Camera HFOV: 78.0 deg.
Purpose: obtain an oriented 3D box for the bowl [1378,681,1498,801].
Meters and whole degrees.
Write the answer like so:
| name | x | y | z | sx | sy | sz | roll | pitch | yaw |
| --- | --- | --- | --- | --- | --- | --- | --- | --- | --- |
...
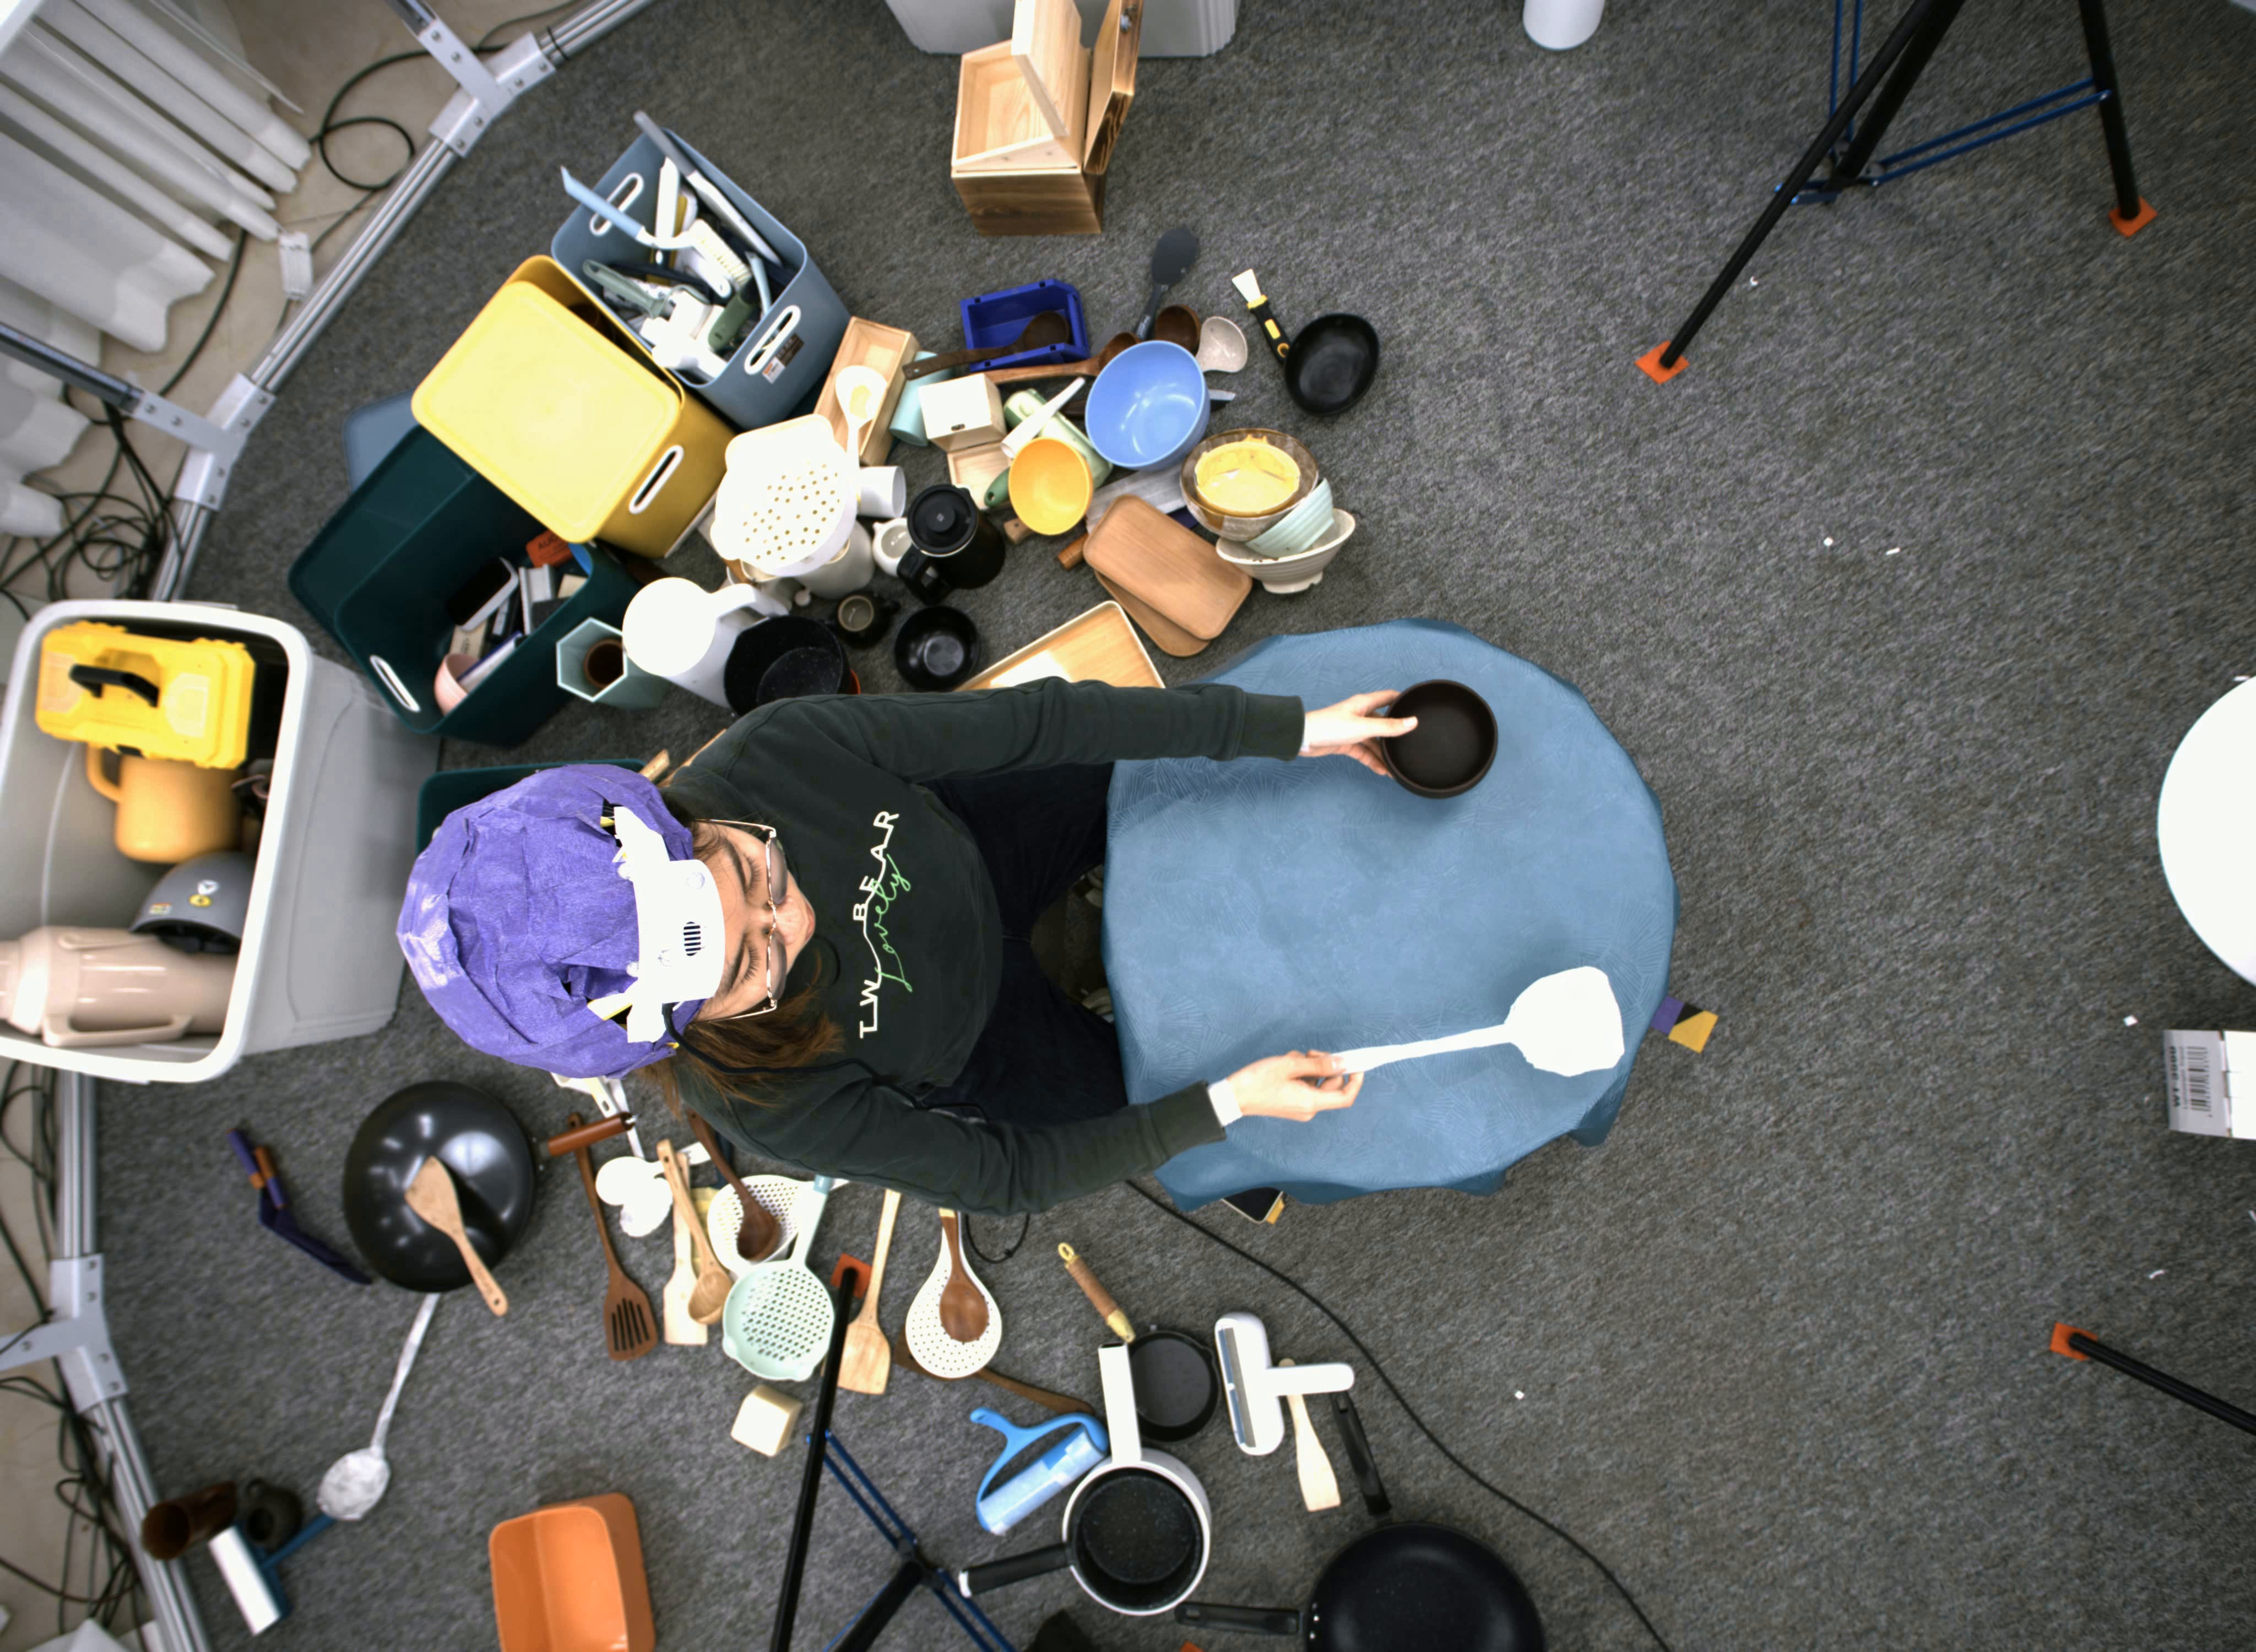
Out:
| name | x | y | z | sx | sy | sz | roll | pitch | yaw |
| --- | --- | --- | --- | --- | --- | --- | --- | --- | --- |
| bowl | 0.311 | -0.082 | 1.379 | 0.118 | 0.070 | 0.117 | -3 | 79 | 12 |

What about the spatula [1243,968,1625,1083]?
| name | x | y | z | sx | sy | sz | roll | pitch | yaw |
| --- | --- | --- | --- | --- | --- | --- | --- | --- | --- |
| spatula | 0.290 | 0.211 | 1.335 | 0.366 | 0.045 | 0.098 | -11 | 83 | 8 |
